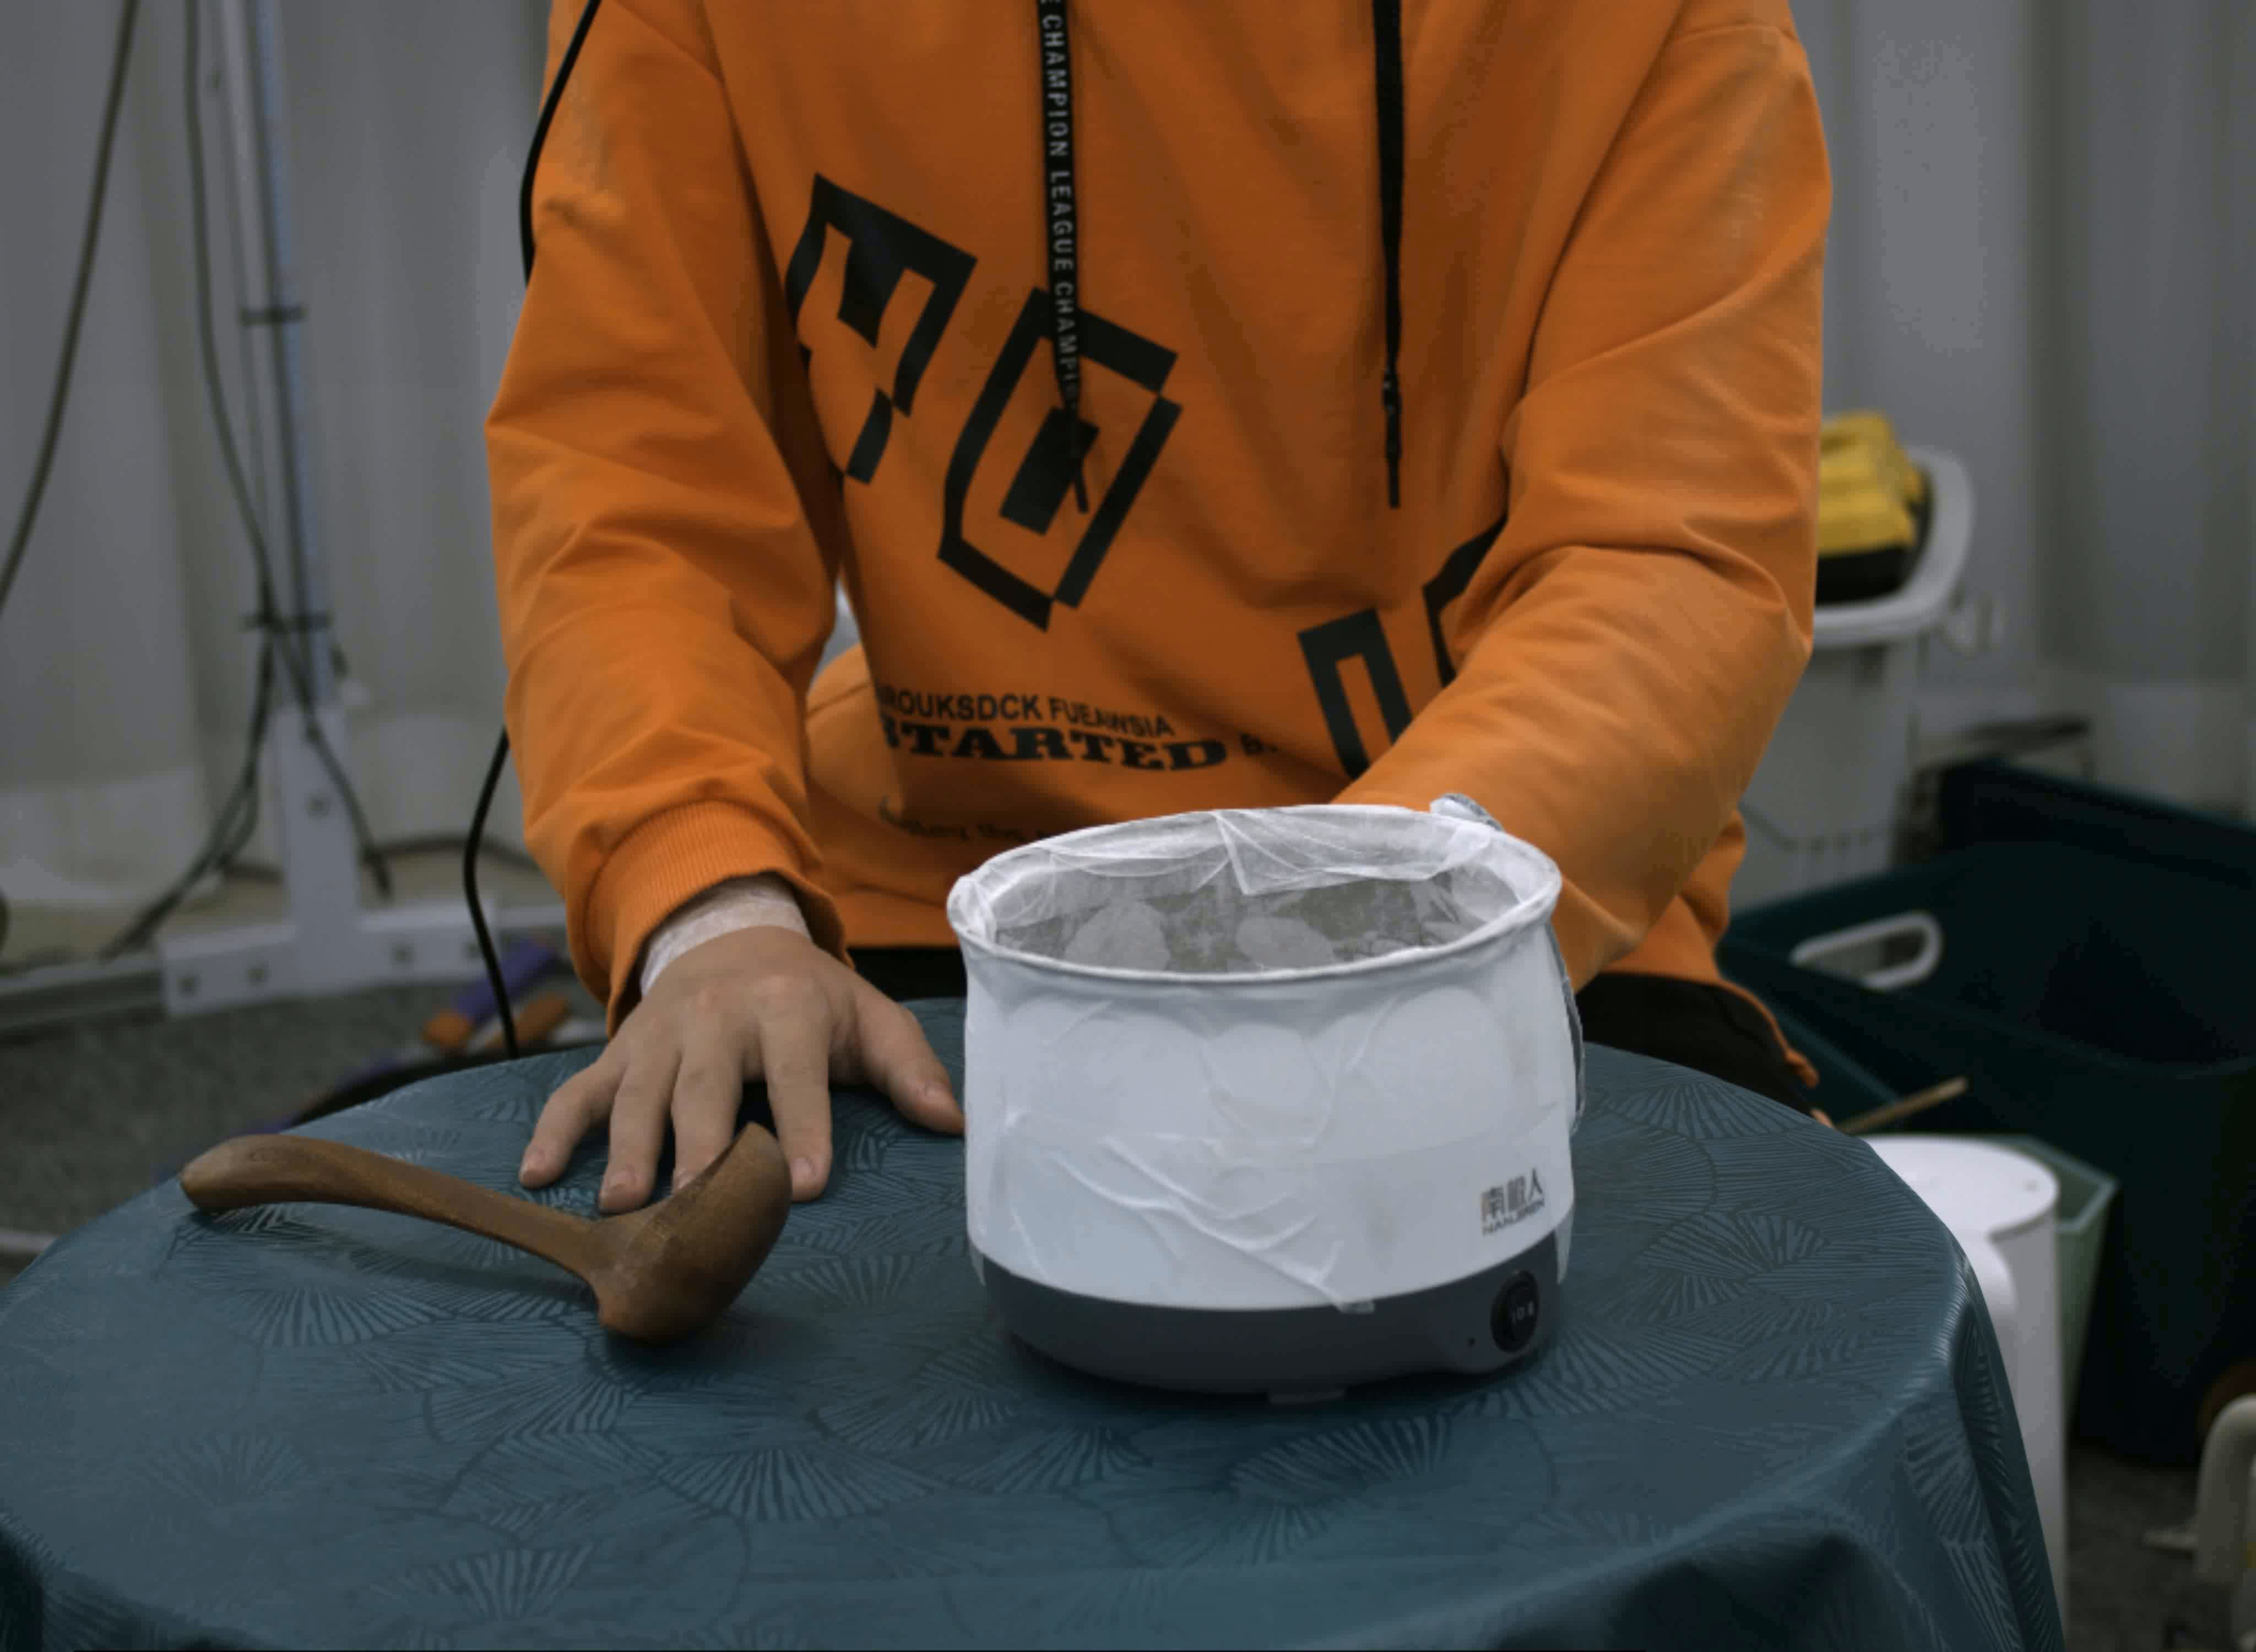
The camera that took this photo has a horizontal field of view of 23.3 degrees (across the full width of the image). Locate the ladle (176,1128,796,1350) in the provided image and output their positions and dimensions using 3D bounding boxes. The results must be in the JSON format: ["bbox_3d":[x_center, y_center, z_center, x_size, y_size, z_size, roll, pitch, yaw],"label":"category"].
[{"bbox_3d":[-0.205,0.110,1.660,0.261,0.064,0.077,9,44,37],"label":"ladle"}]

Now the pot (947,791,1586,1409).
[{"bbox_3d":[0.056,0.072,1.600,0.179,0.136,0.233,8,19,36],"label":"pot"}]
